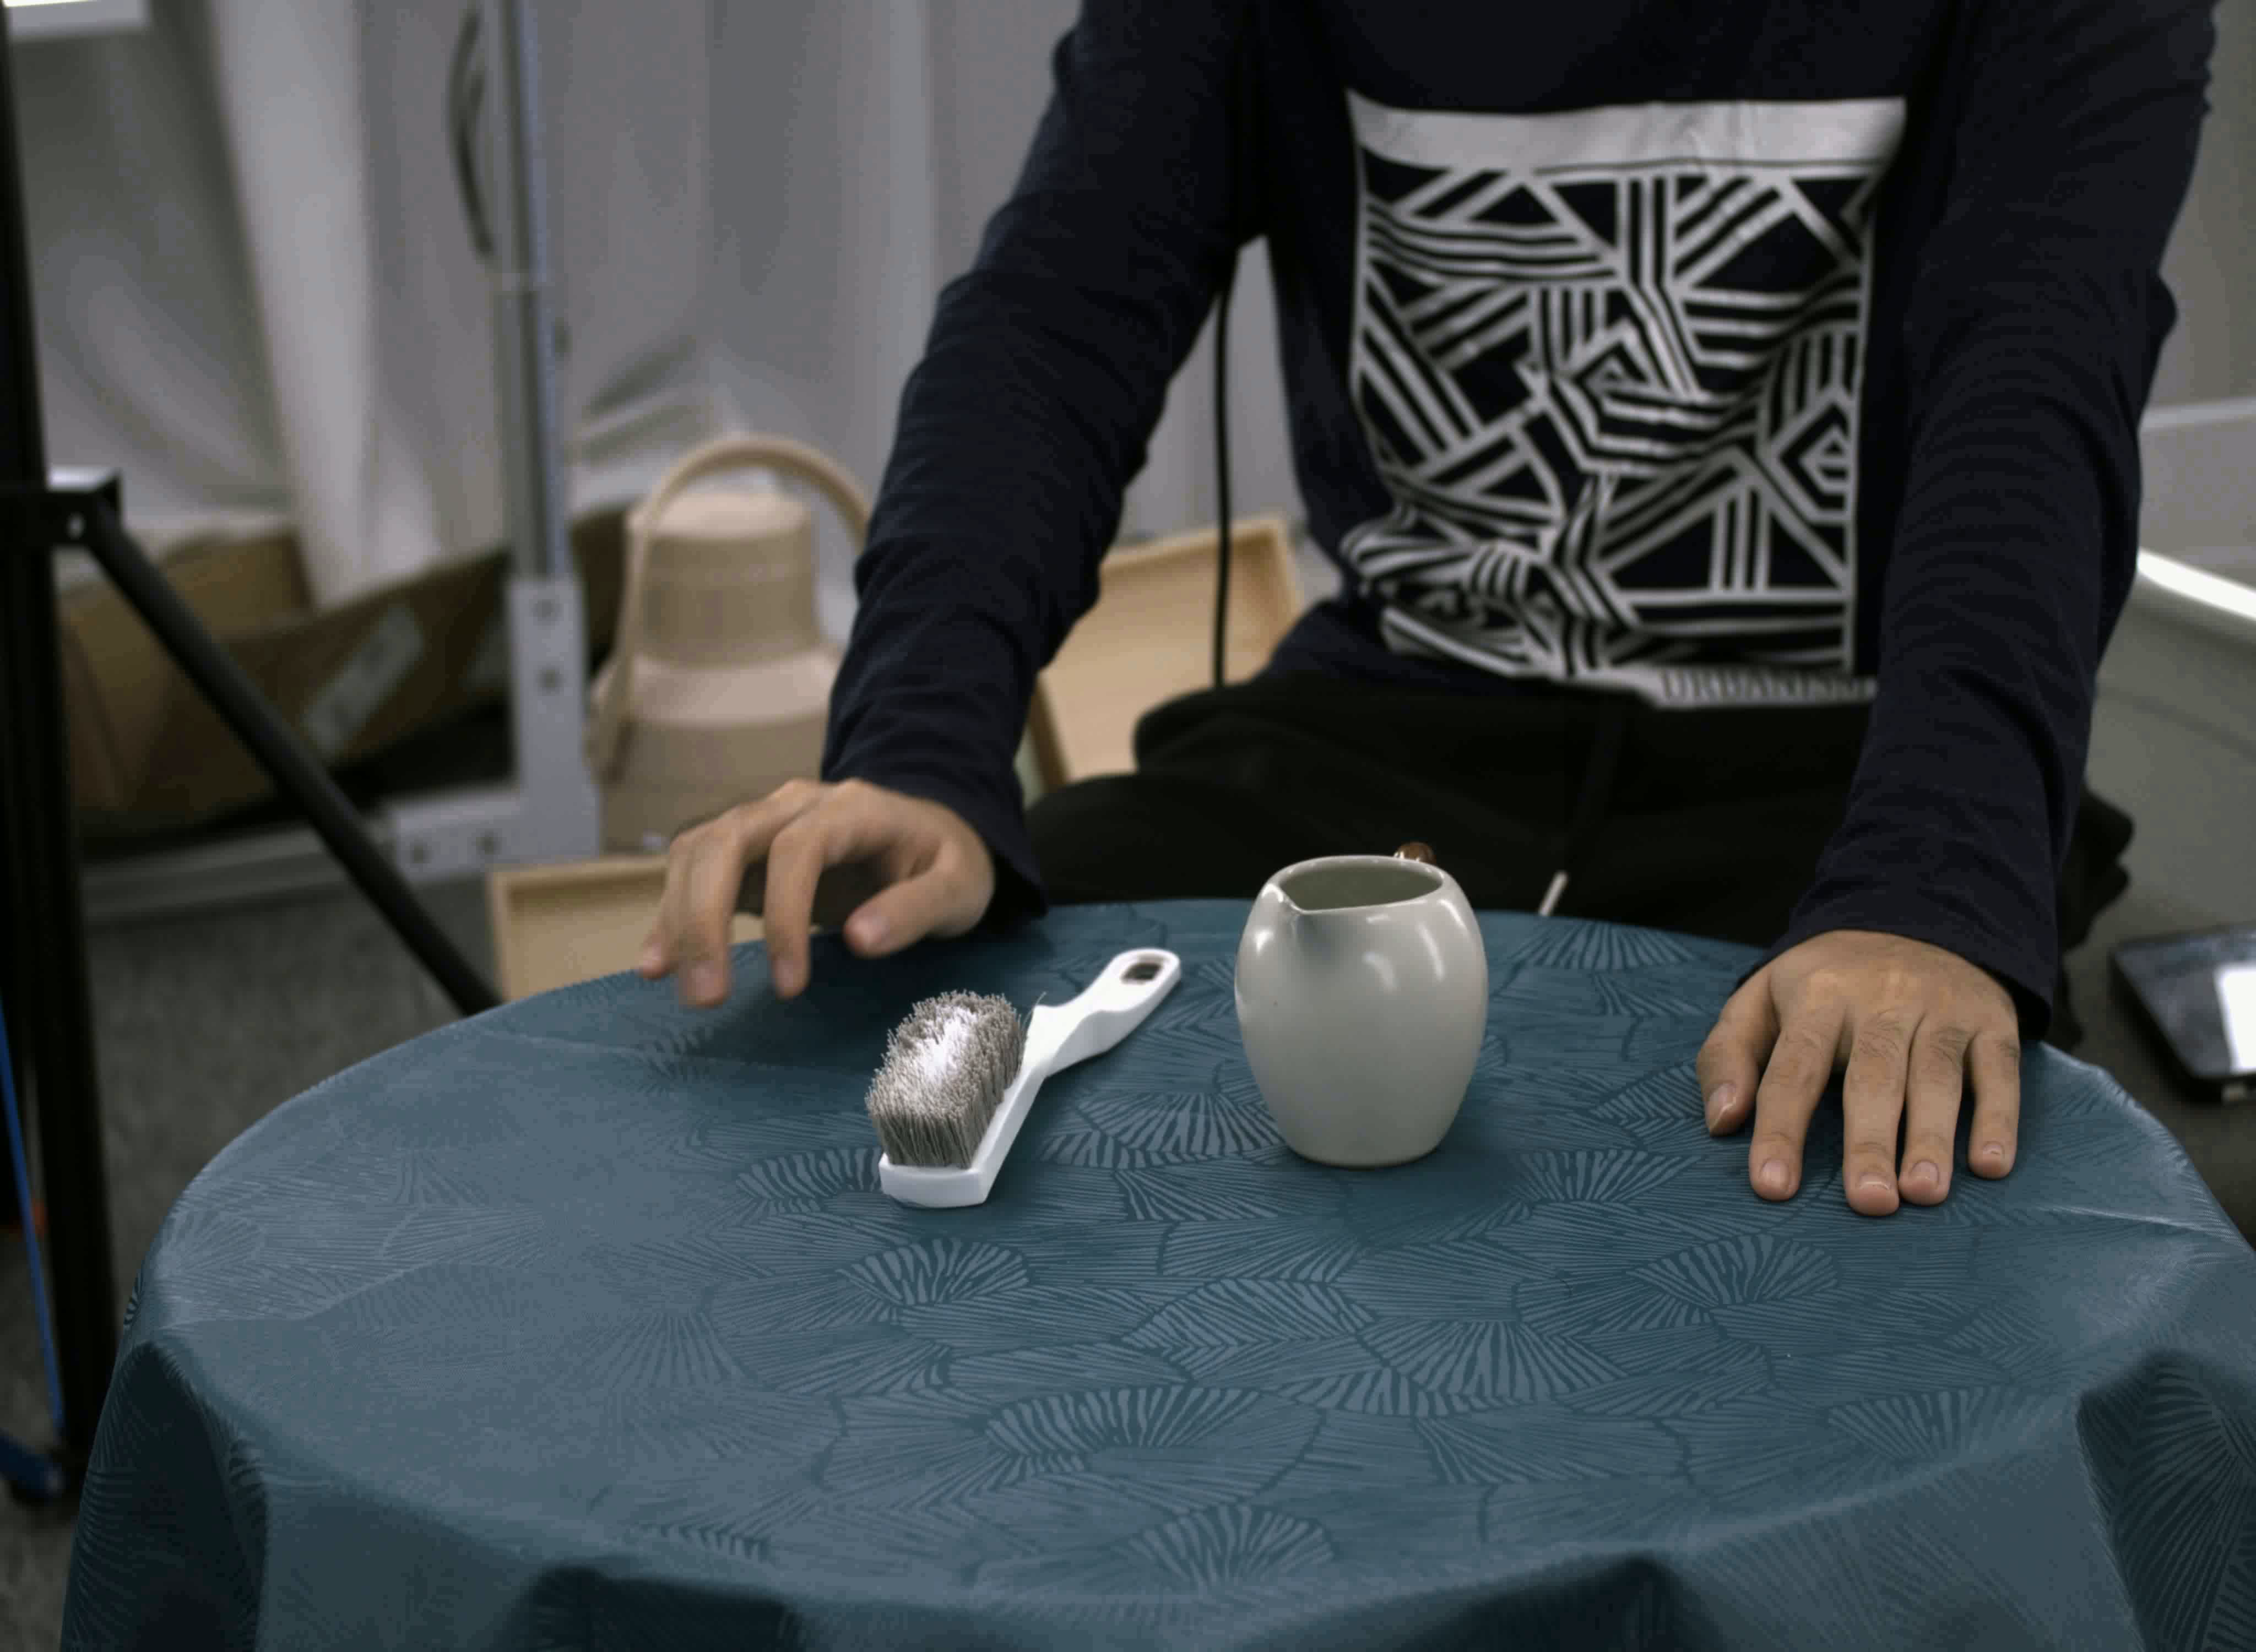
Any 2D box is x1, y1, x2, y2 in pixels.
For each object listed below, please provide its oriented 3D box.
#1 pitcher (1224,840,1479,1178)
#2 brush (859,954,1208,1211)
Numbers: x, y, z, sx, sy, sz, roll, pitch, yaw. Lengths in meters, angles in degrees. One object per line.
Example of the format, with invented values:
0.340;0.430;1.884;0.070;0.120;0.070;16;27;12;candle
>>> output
0.070;0.053;1.579;0.077;0.088;0.117;9;21;22;pitcher
-0.024;0.059;1.649;0.035;0.050;0.241;-1;15;21;brush
